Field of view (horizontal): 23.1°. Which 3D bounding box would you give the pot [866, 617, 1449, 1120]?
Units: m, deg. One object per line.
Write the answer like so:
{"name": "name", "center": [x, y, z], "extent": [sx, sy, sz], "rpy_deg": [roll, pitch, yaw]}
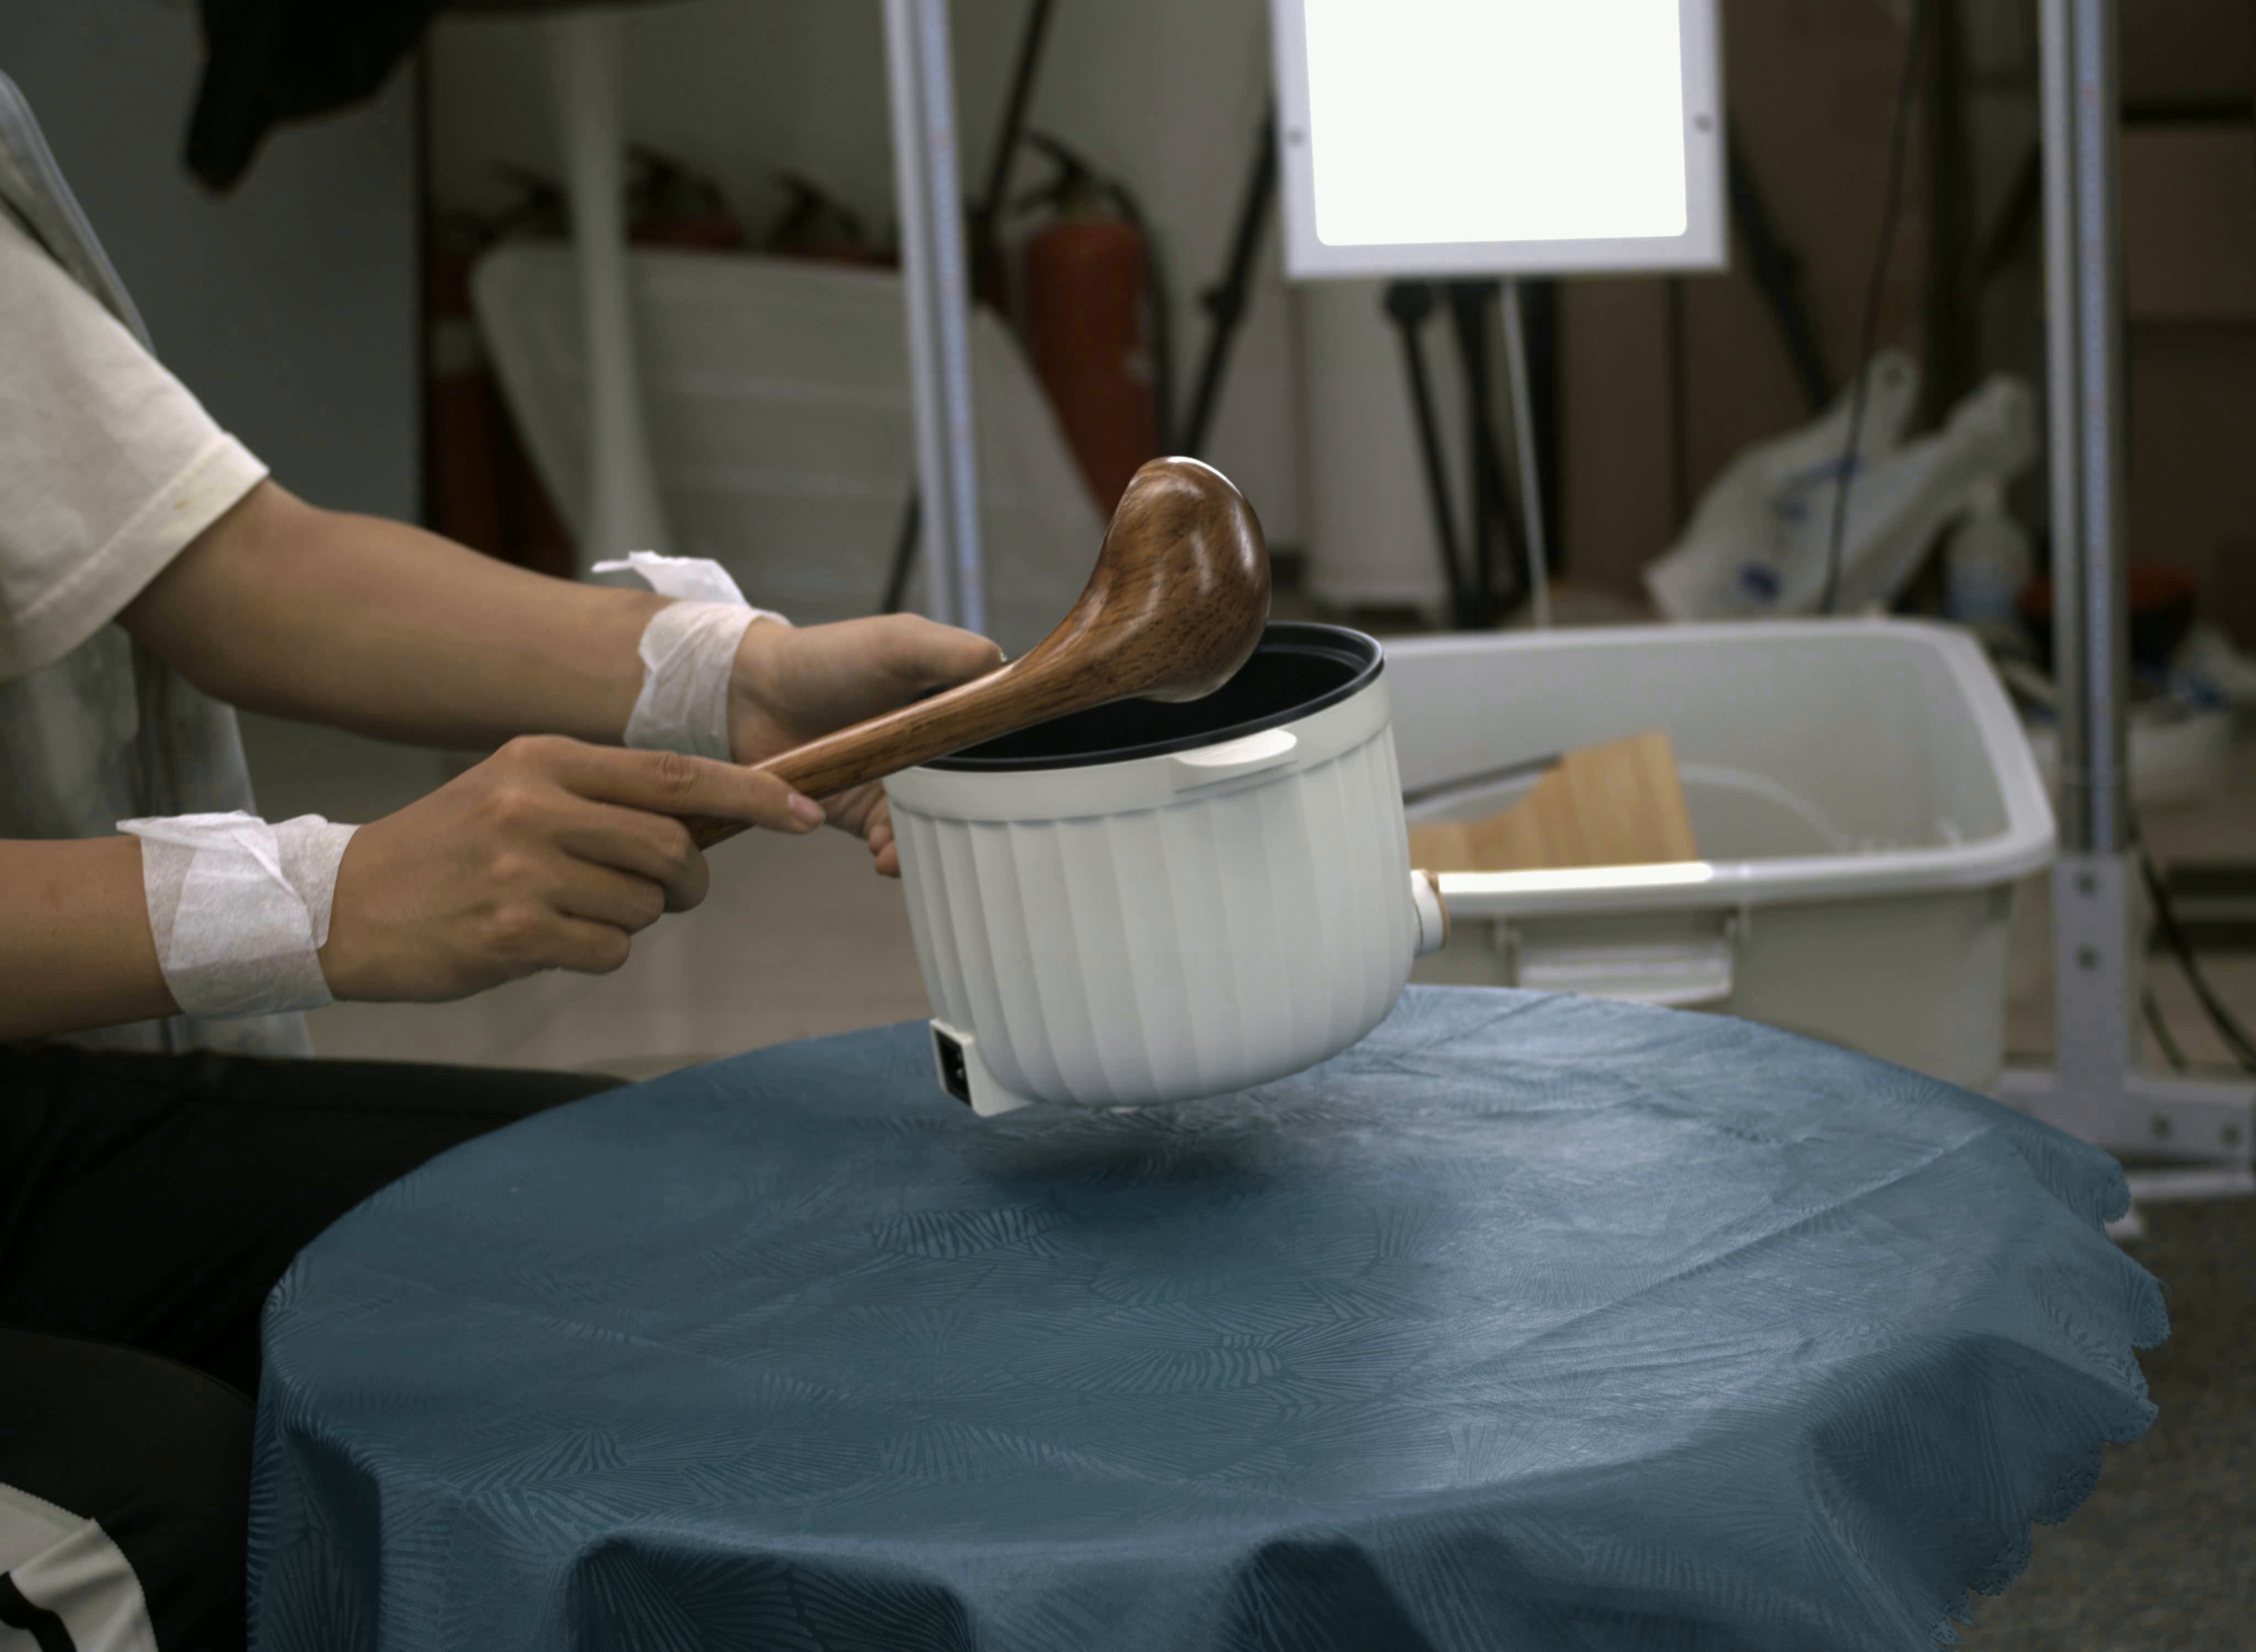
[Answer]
{"name": "pot", "center": [0.015, 0.014, 1.939], "extent": [0.187, 0.143, 0.243], "rpy_deg": [-18, 17, -17]}

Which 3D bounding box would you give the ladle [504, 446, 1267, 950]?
{"name": "ladle", "center": [-0.080, -0.040, 1.786], "extent": [0.273, 0.081, 0.077], "rpy_deg": [-24, 25, 1]}
